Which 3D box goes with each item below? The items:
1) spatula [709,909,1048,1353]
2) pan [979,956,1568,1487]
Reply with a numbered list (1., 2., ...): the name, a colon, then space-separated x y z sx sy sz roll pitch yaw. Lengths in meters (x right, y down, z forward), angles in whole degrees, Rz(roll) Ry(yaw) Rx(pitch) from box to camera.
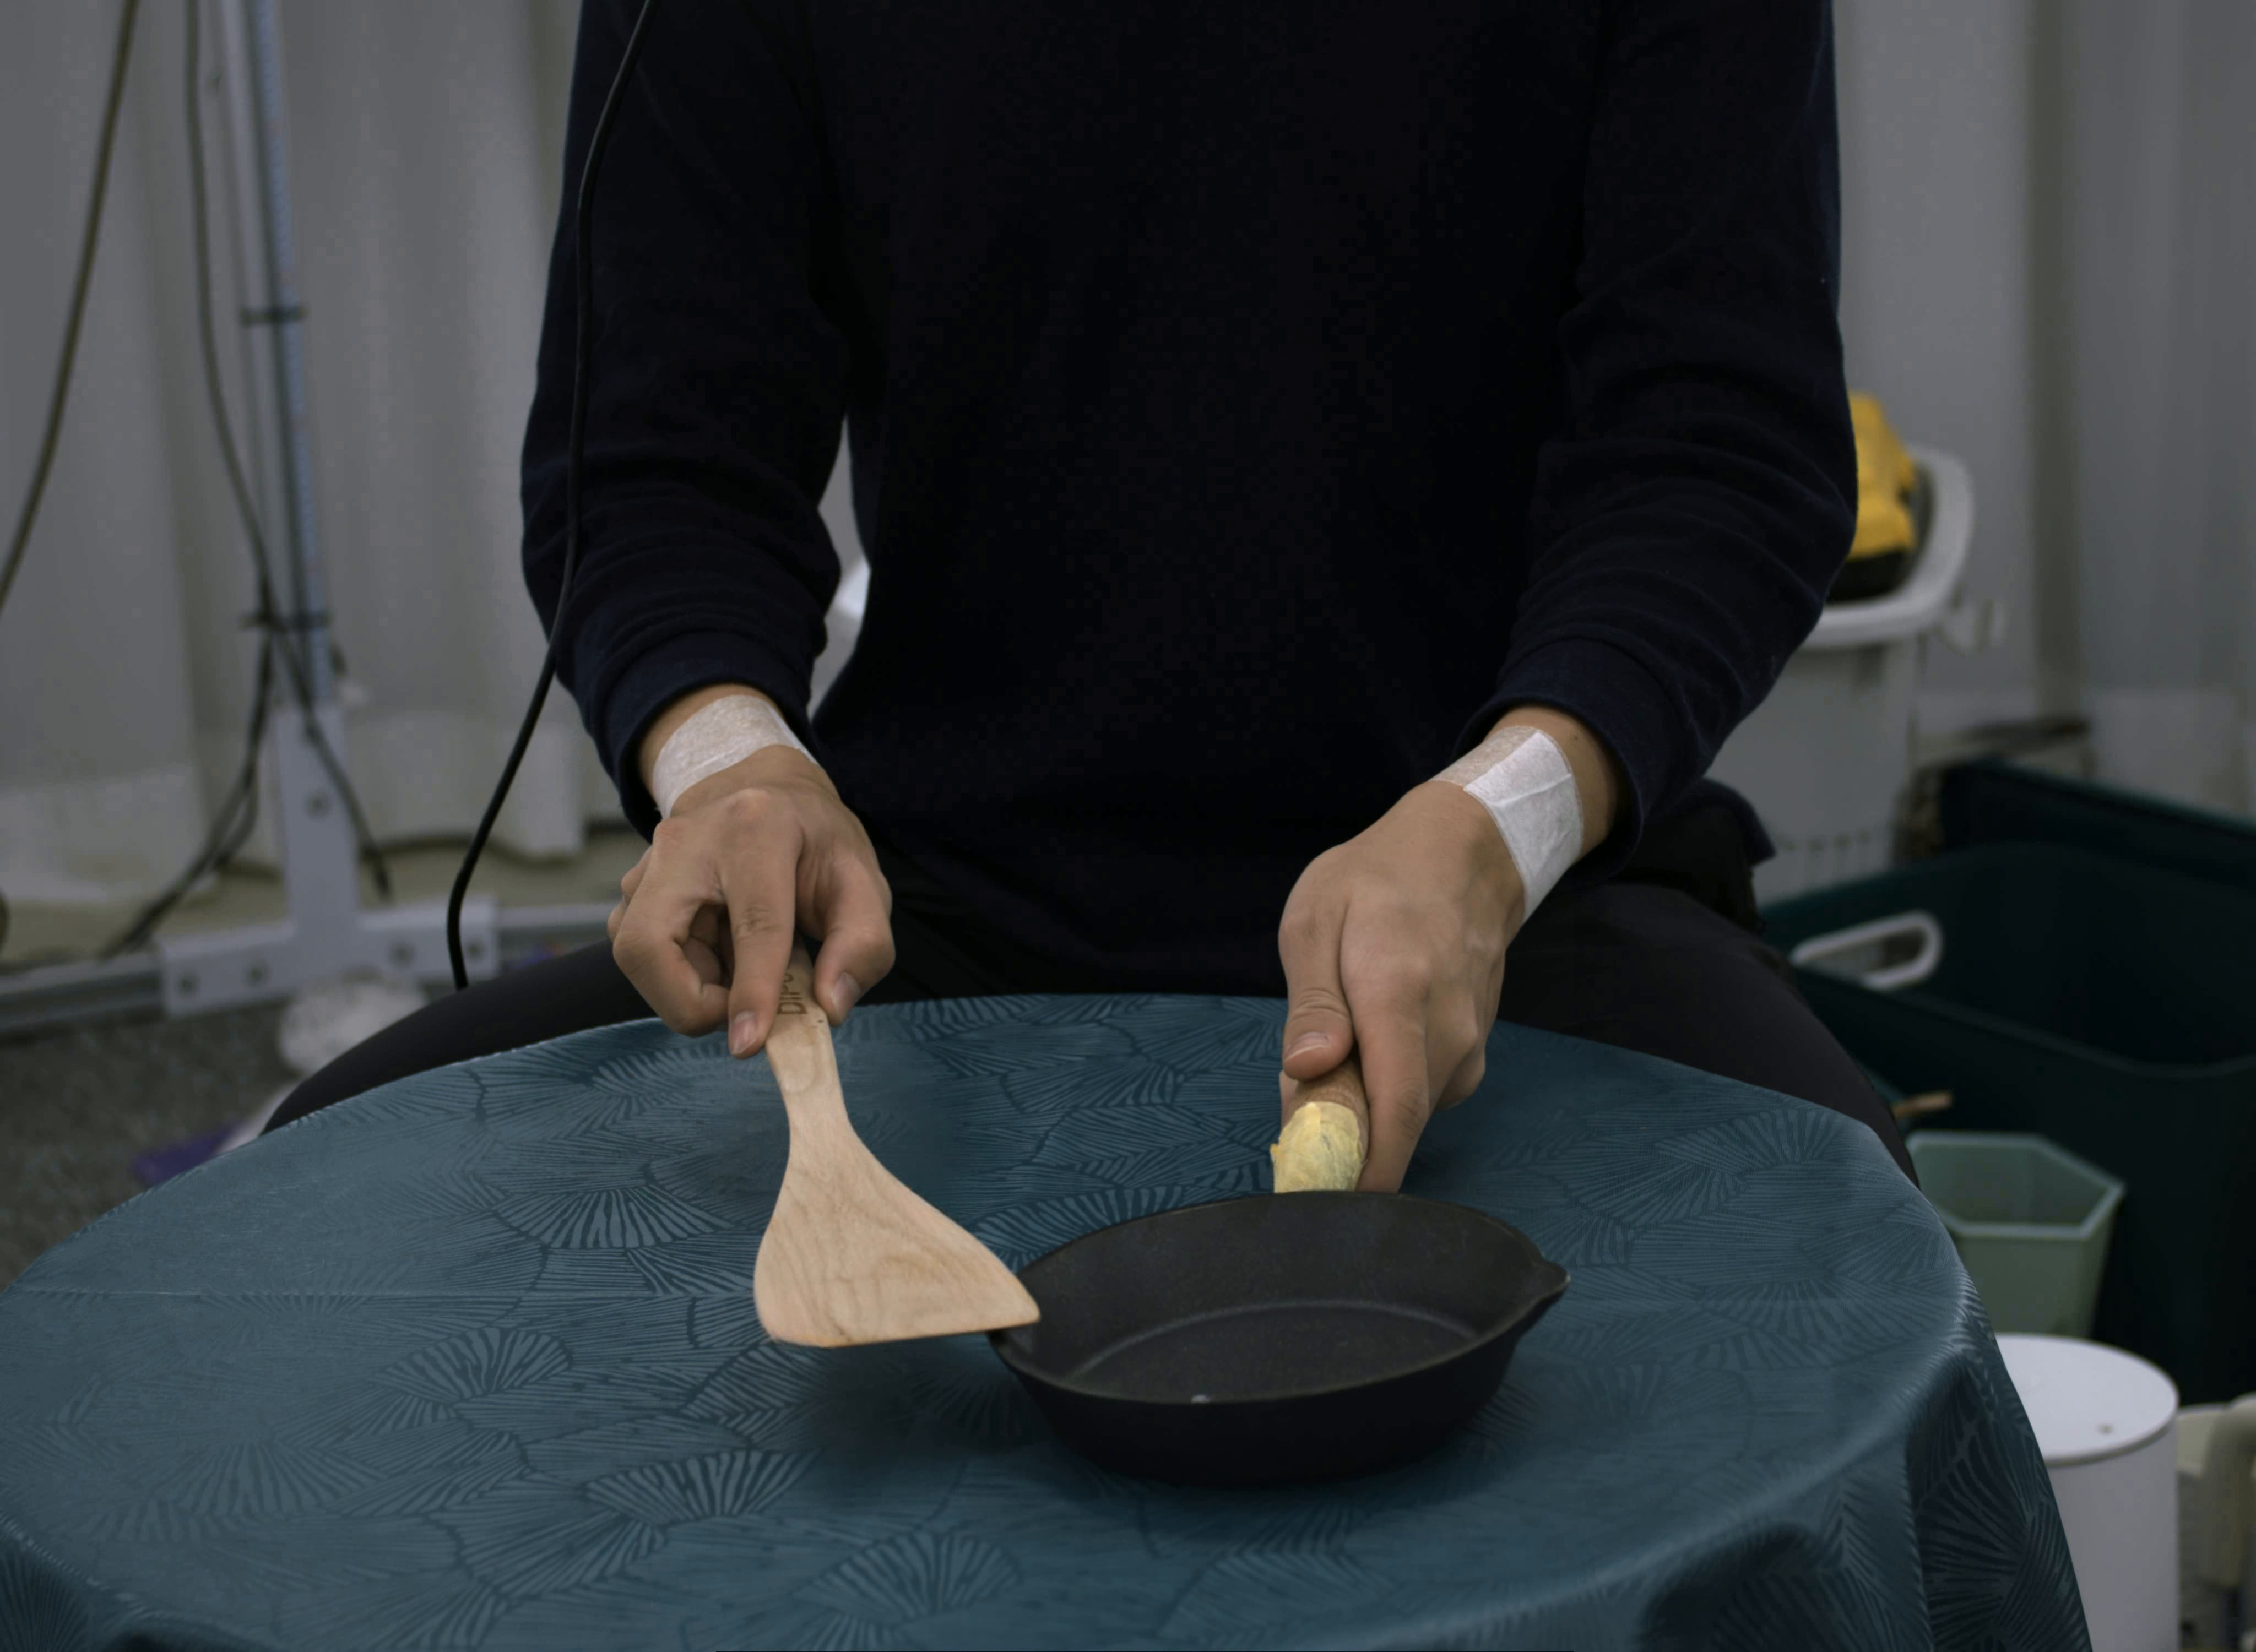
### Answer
1. spatula: -0.090 0.087 1.637 0.079 0.016 0.331 -1 22 -12
2. pan: 0.055 0.112 1.600 0.168 0.049 0.326 -3 17 12
